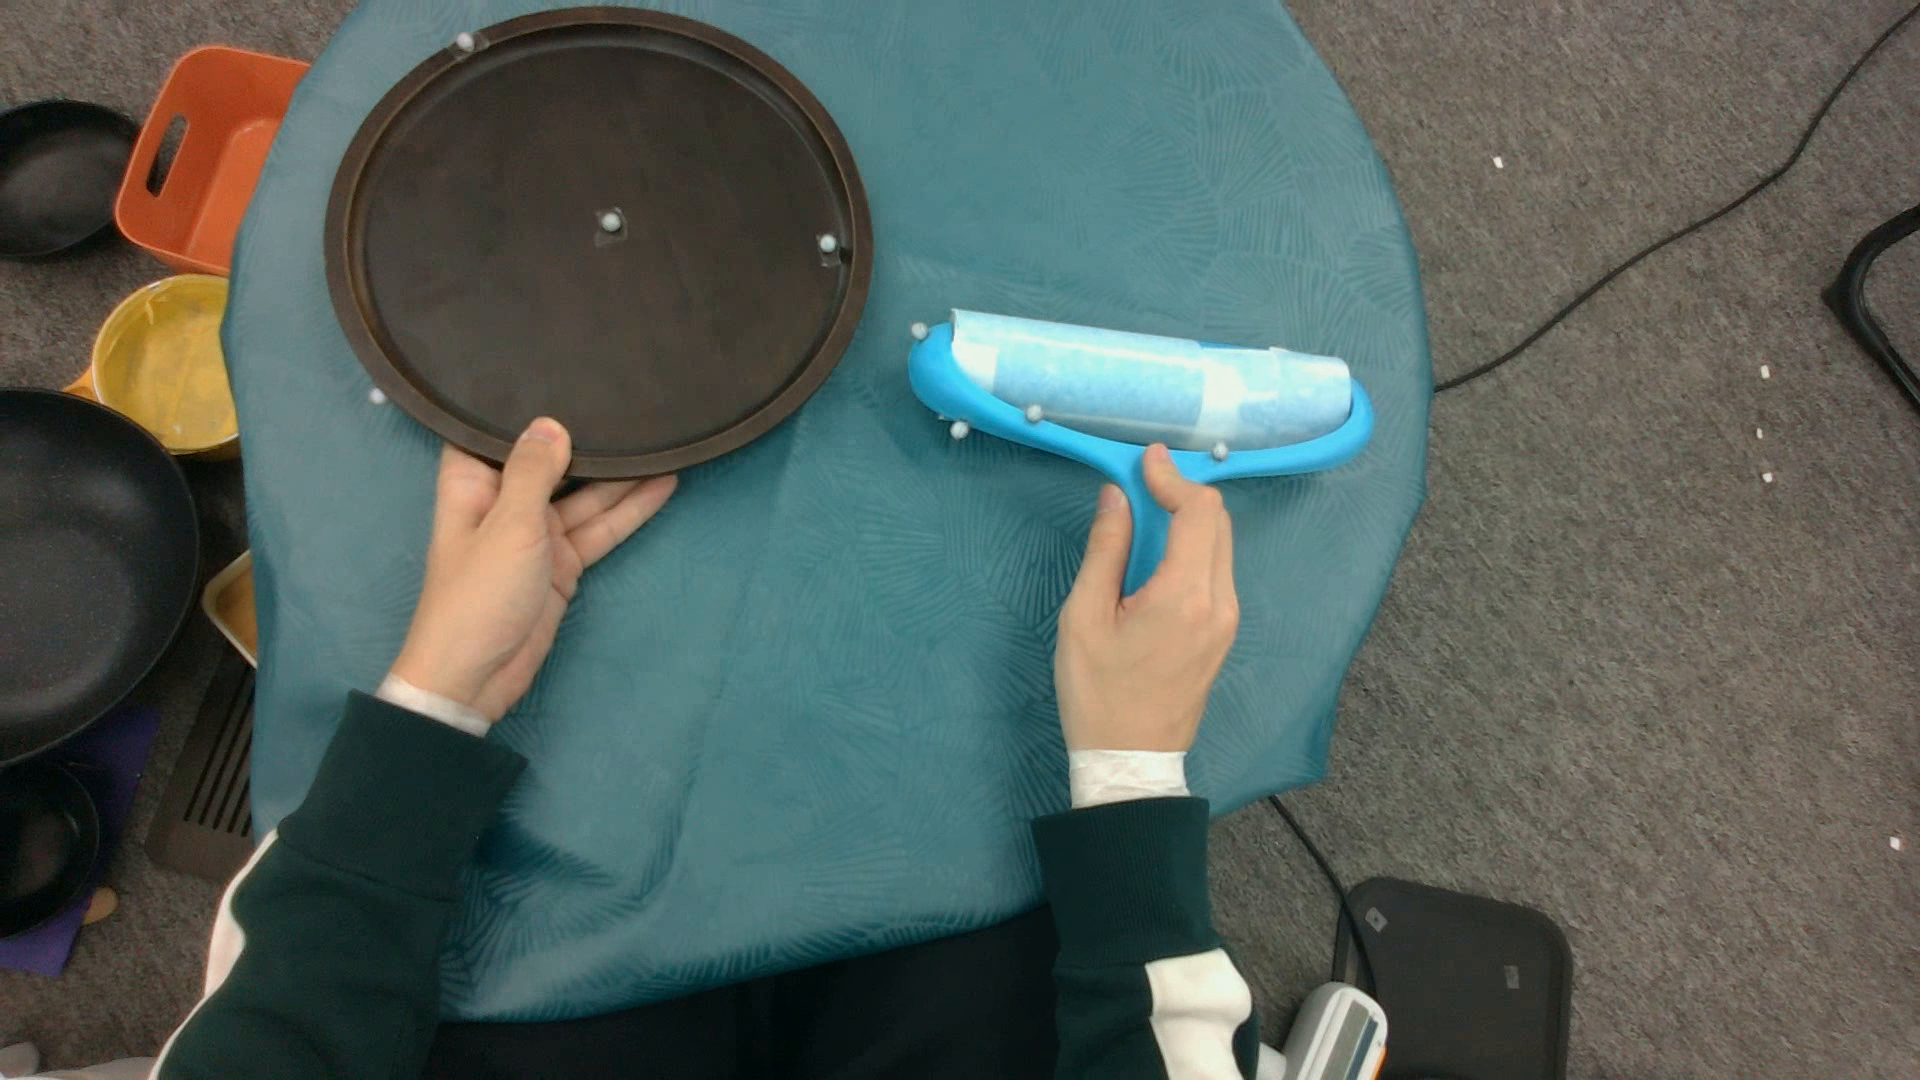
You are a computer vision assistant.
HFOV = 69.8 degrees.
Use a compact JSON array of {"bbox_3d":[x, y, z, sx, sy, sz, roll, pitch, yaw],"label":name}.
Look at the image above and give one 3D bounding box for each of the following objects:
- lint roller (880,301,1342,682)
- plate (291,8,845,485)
[{"bbox_3d":[0.076,-0.028,0.654,0.229,0.067,0.181,2,68,-9],"label":"lint roller"},{"bbox_3d":[-0.183,-0.144,0.662,0.255,0.029,0.255,3,71,-9],"label":"plate"}]
